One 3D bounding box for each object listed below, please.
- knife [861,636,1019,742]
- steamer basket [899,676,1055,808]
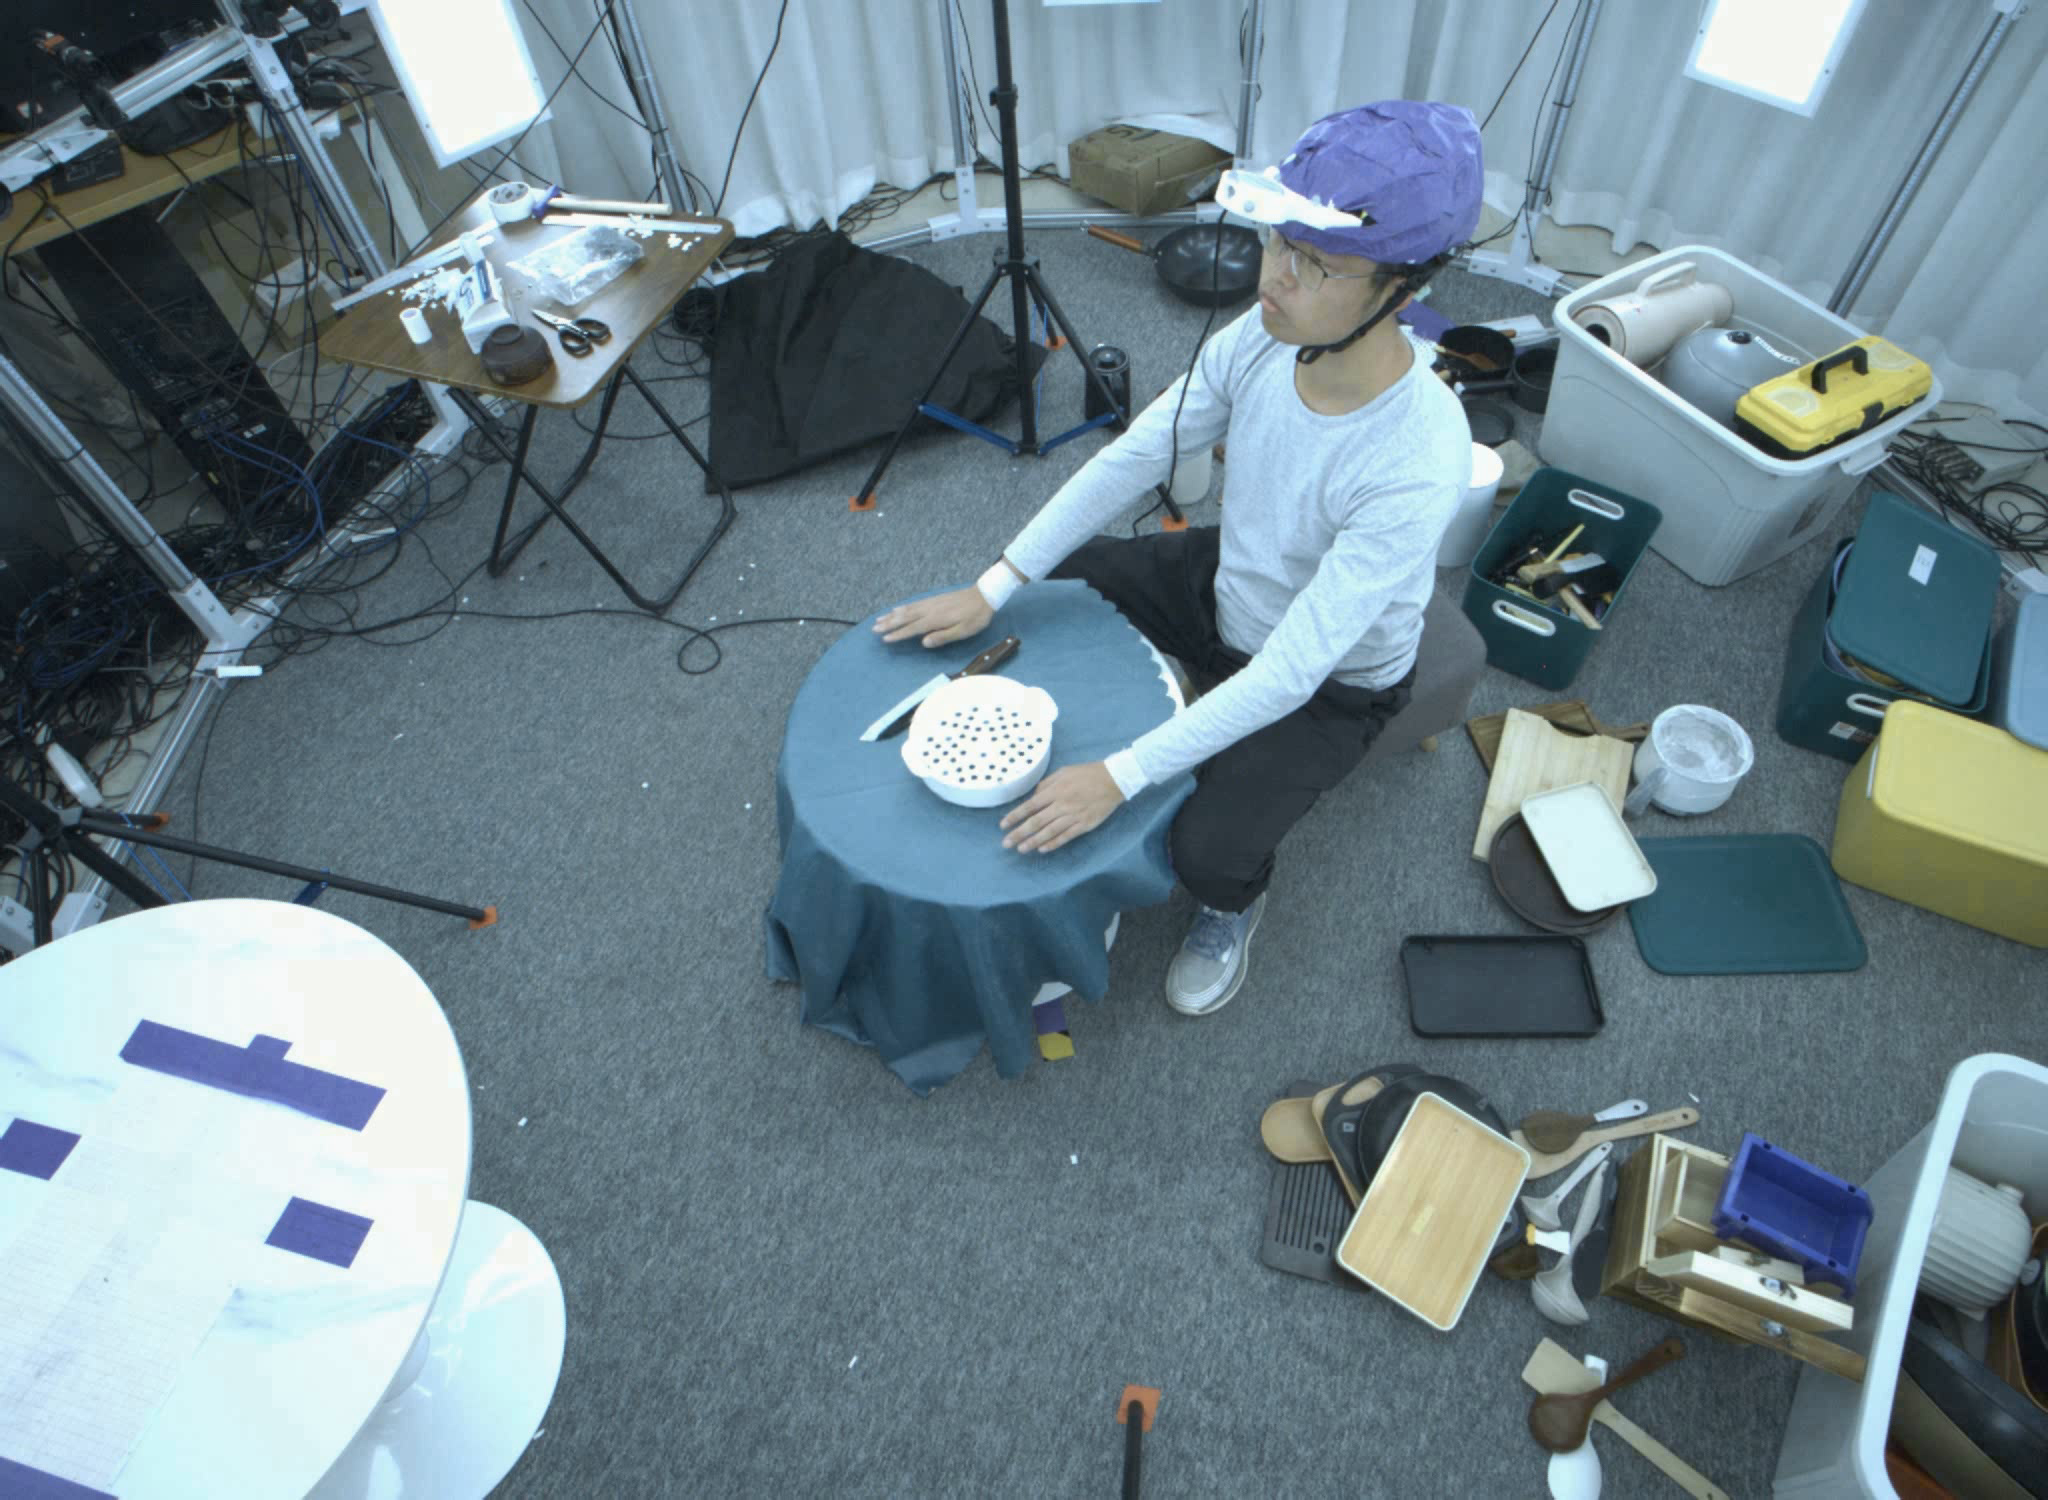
[{"bbox_3d":[-0.126,-0.092,1.855,0.291,0.020,0.049,-35,56,-18],"label":"knife"},{"bbox_3d":[-0.065,-0.009,1.762,0.232,0.070,0.198,-24,58,-16],"label":"steamer basket"}]
